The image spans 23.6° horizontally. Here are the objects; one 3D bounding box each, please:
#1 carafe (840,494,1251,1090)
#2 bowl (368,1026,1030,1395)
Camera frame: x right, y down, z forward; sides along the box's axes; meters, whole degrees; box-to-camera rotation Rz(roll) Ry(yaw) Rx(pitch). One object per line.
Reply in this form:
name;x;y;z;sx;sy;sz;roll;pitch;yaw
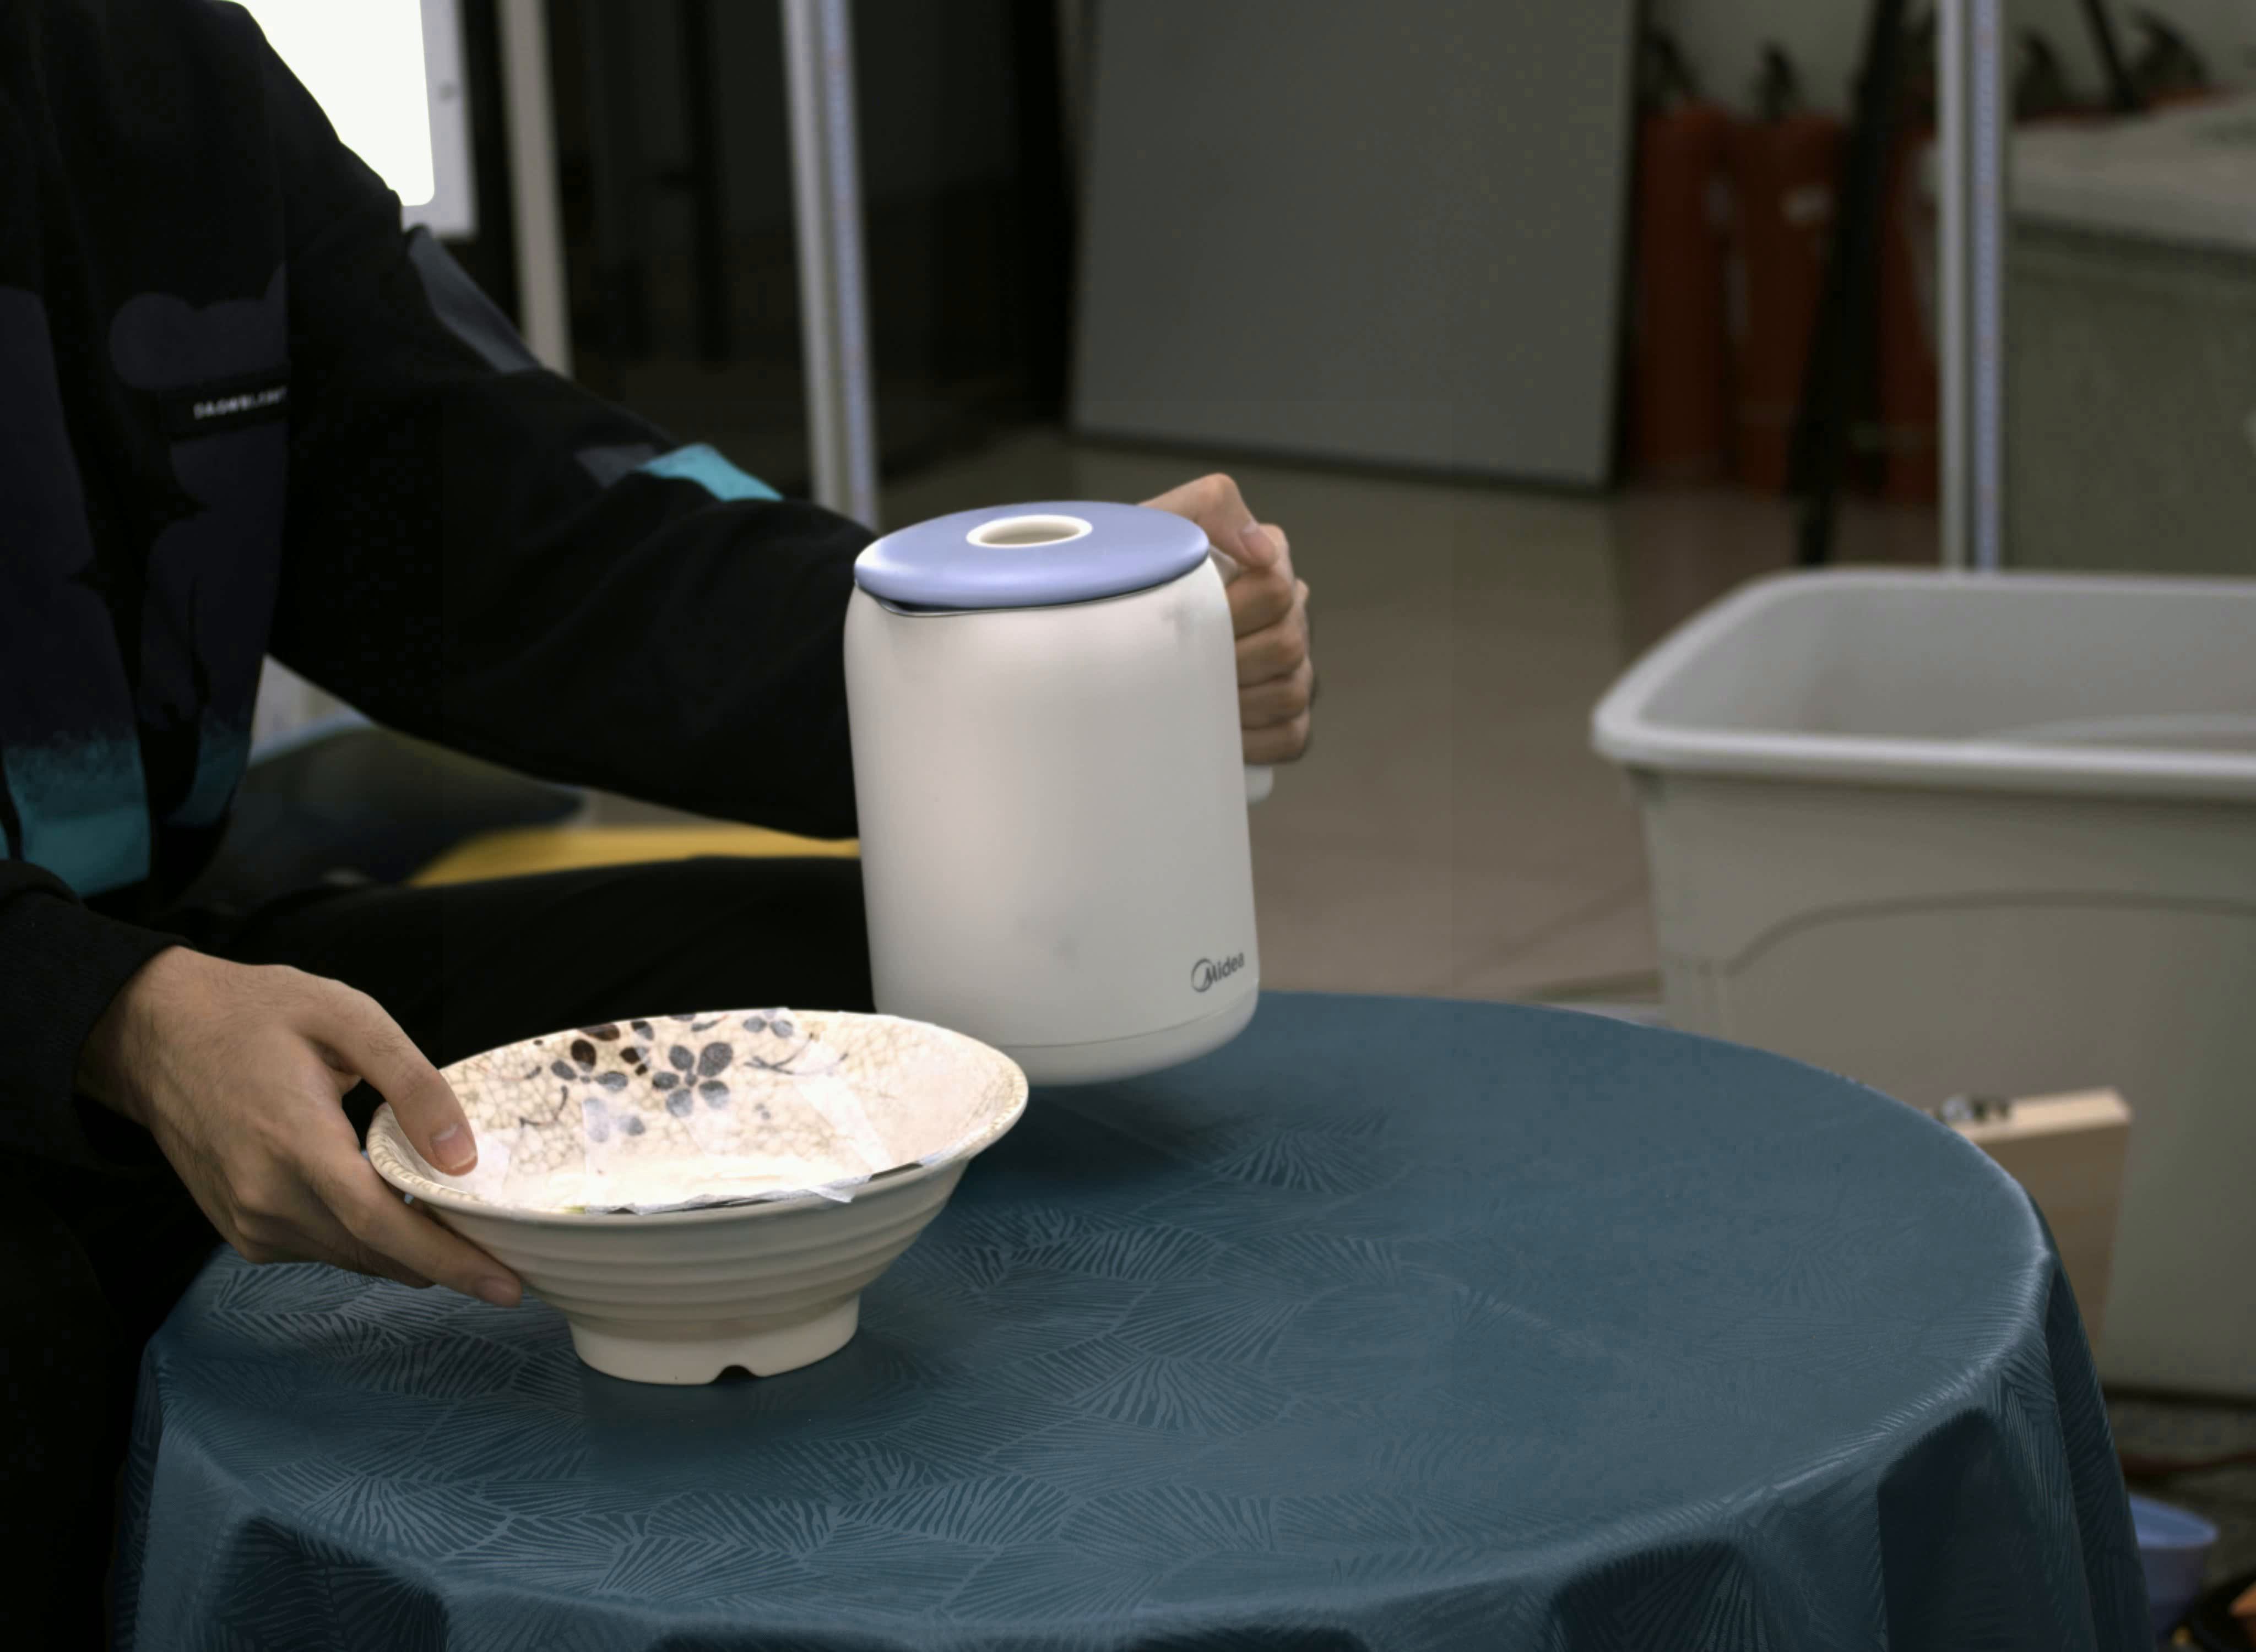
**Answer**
carafe;-0.014;-0.018;1.817;0.133;0.184;0.188;7;17;34
bowl;-0.126;0.123;1.647;0.201;0.079;0.204;-6;12;0
